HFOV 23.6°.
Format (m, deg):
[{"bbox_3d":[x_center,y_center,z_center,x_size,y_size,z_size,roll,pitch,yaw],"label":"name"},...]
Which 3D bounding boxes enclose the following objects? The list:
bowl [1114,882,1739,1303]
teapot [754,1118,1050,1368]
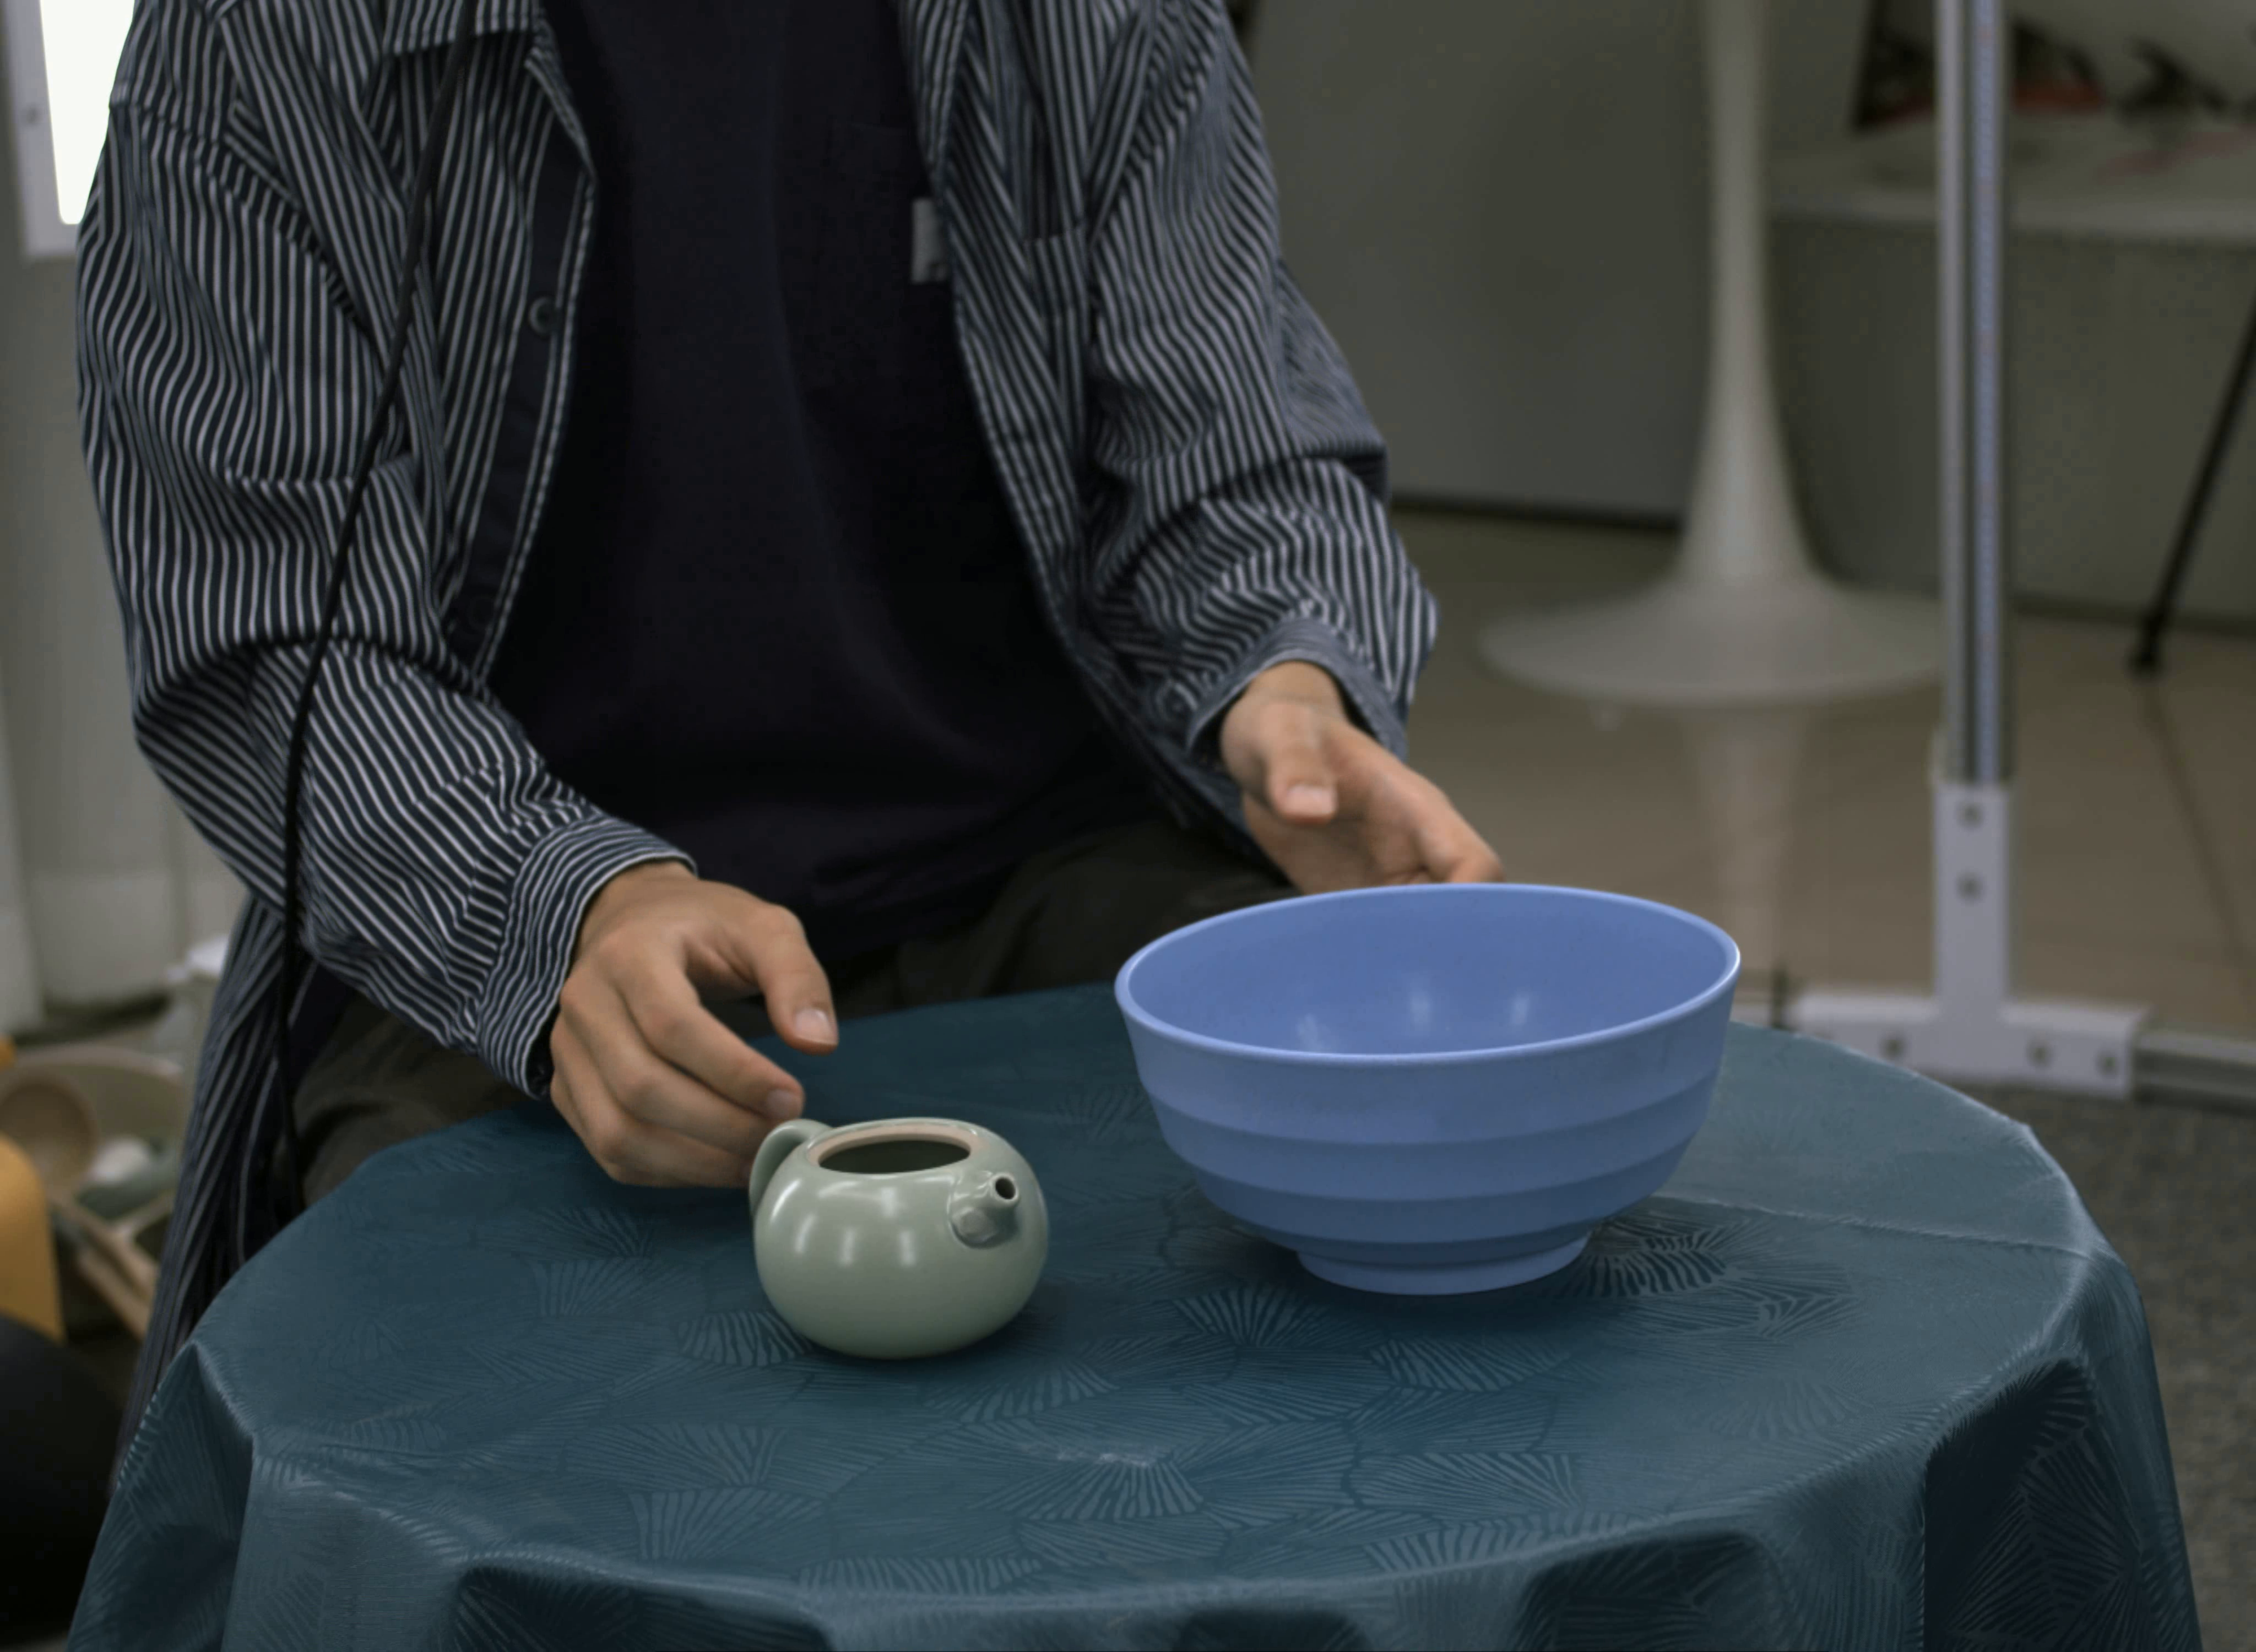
[{"bbox_3d":[0.095,0.089,1.679,0.194,0.096,0.197,-5,14,0],"label":"bowl"},{"bbox_3d":[-0.074,0.125,1.650,0.089,0.061,0.130,-16,17,-34],"label":"teapot"}]
